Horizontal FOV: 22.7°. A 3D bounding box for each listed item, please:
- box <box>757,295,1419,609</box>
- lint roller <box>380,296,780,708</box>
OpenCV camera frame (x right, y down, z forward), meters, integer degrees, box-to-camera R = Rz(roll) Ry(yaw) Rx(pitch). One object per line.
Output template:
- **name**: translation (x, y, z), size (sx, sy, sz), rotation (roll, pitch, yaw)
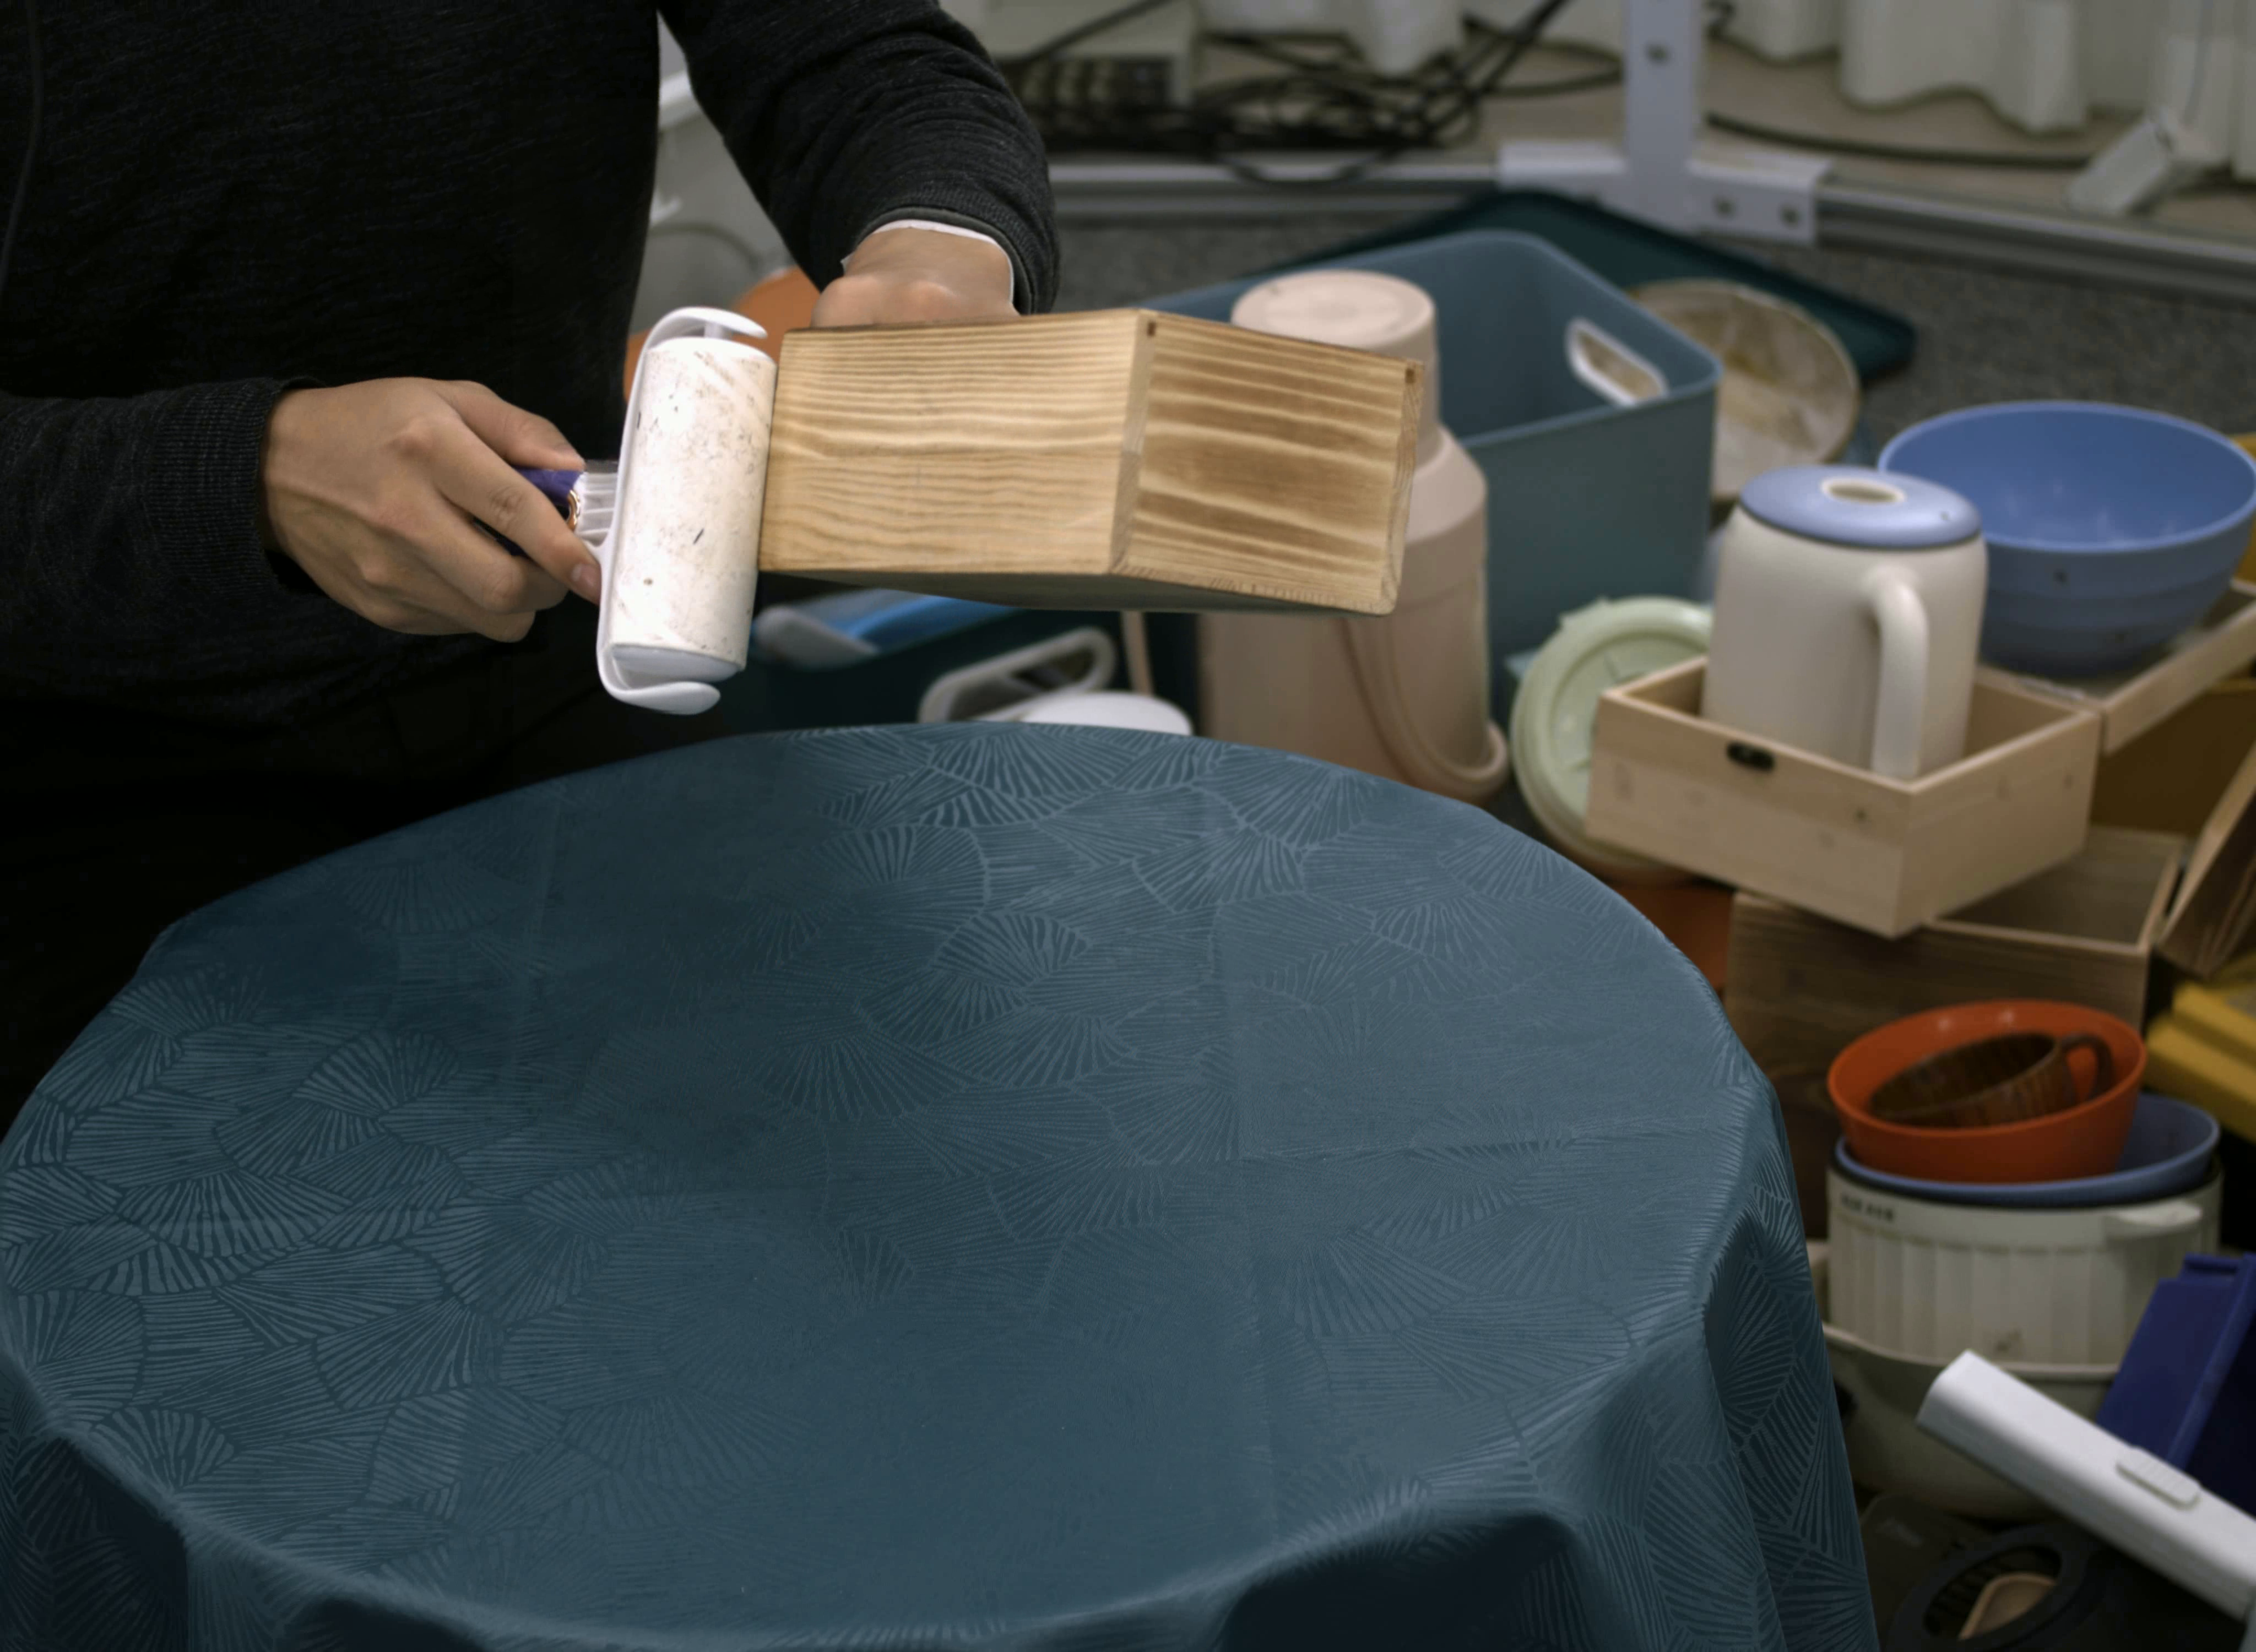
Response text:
- **box**: translation (-0.016, -0.114, 1.765), size (0.107, 0.081, 0.210), rotation (8, -3, -34)
- **lint roller**: translation (-0.193, -0.108, 1.865), size (0.179, 0.134, 0.050), rotation (3, -8, 36)
